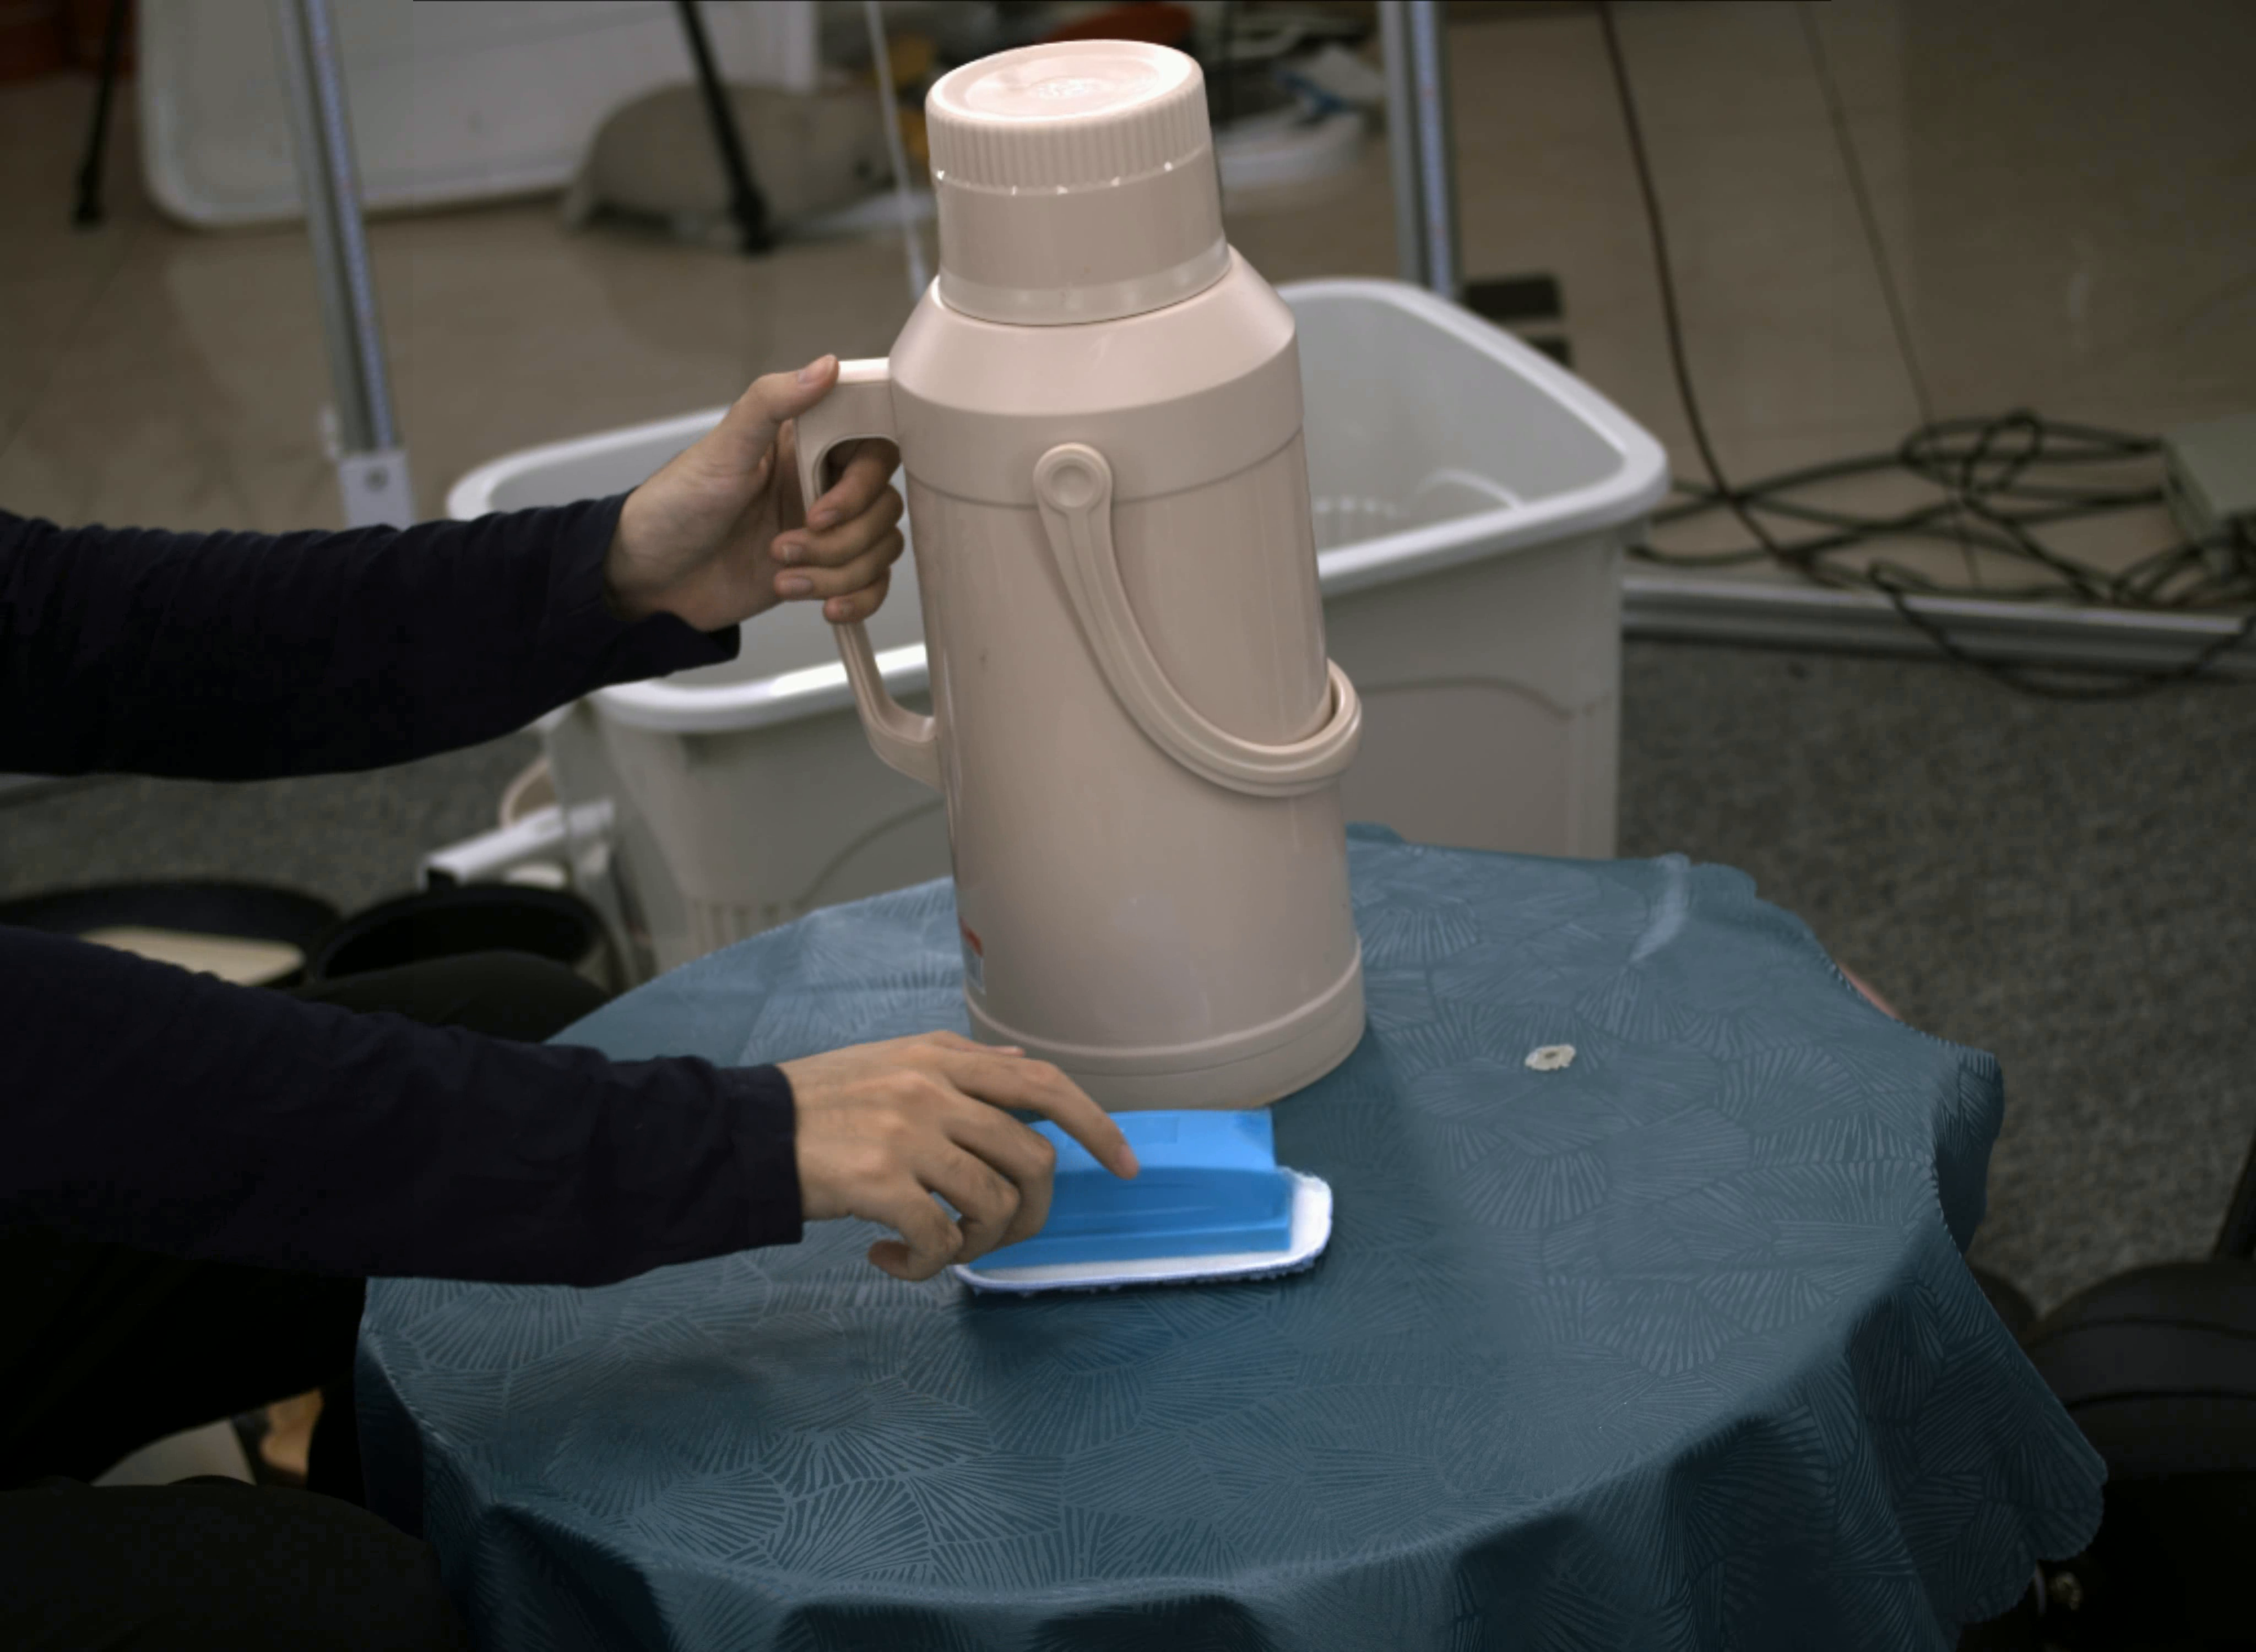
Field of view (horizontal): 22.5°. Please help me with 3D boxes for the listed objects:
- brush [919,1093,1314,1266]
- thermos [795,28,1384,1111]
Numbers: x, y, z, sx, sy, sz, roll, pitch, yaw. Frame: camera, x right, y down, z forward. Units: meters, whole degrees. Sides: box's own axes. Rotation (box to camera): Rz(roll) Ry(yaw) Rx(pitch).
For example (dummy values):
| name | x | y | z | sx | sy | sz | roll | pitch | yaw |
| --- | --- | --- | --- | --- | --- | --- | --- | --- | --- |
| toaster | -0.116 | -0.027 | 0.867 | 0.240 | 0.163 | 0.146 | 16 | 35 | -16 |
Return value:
| name | x | y | z | sx | sy | sz | roll | pitch | yaw |
| --- | --- | --- | --- | --- | --- | --- | --- | --- | --- |
| brush | -0.004 | 0.129 | 2.094 | 0.143 | 0.057 | 0.083 | 0 | 22 | 5 |
| thermos | -0.015 | -0.097 | 2.181 | 0.207 | 0.413 | 0.172 | -4 | 28 | 8 |
